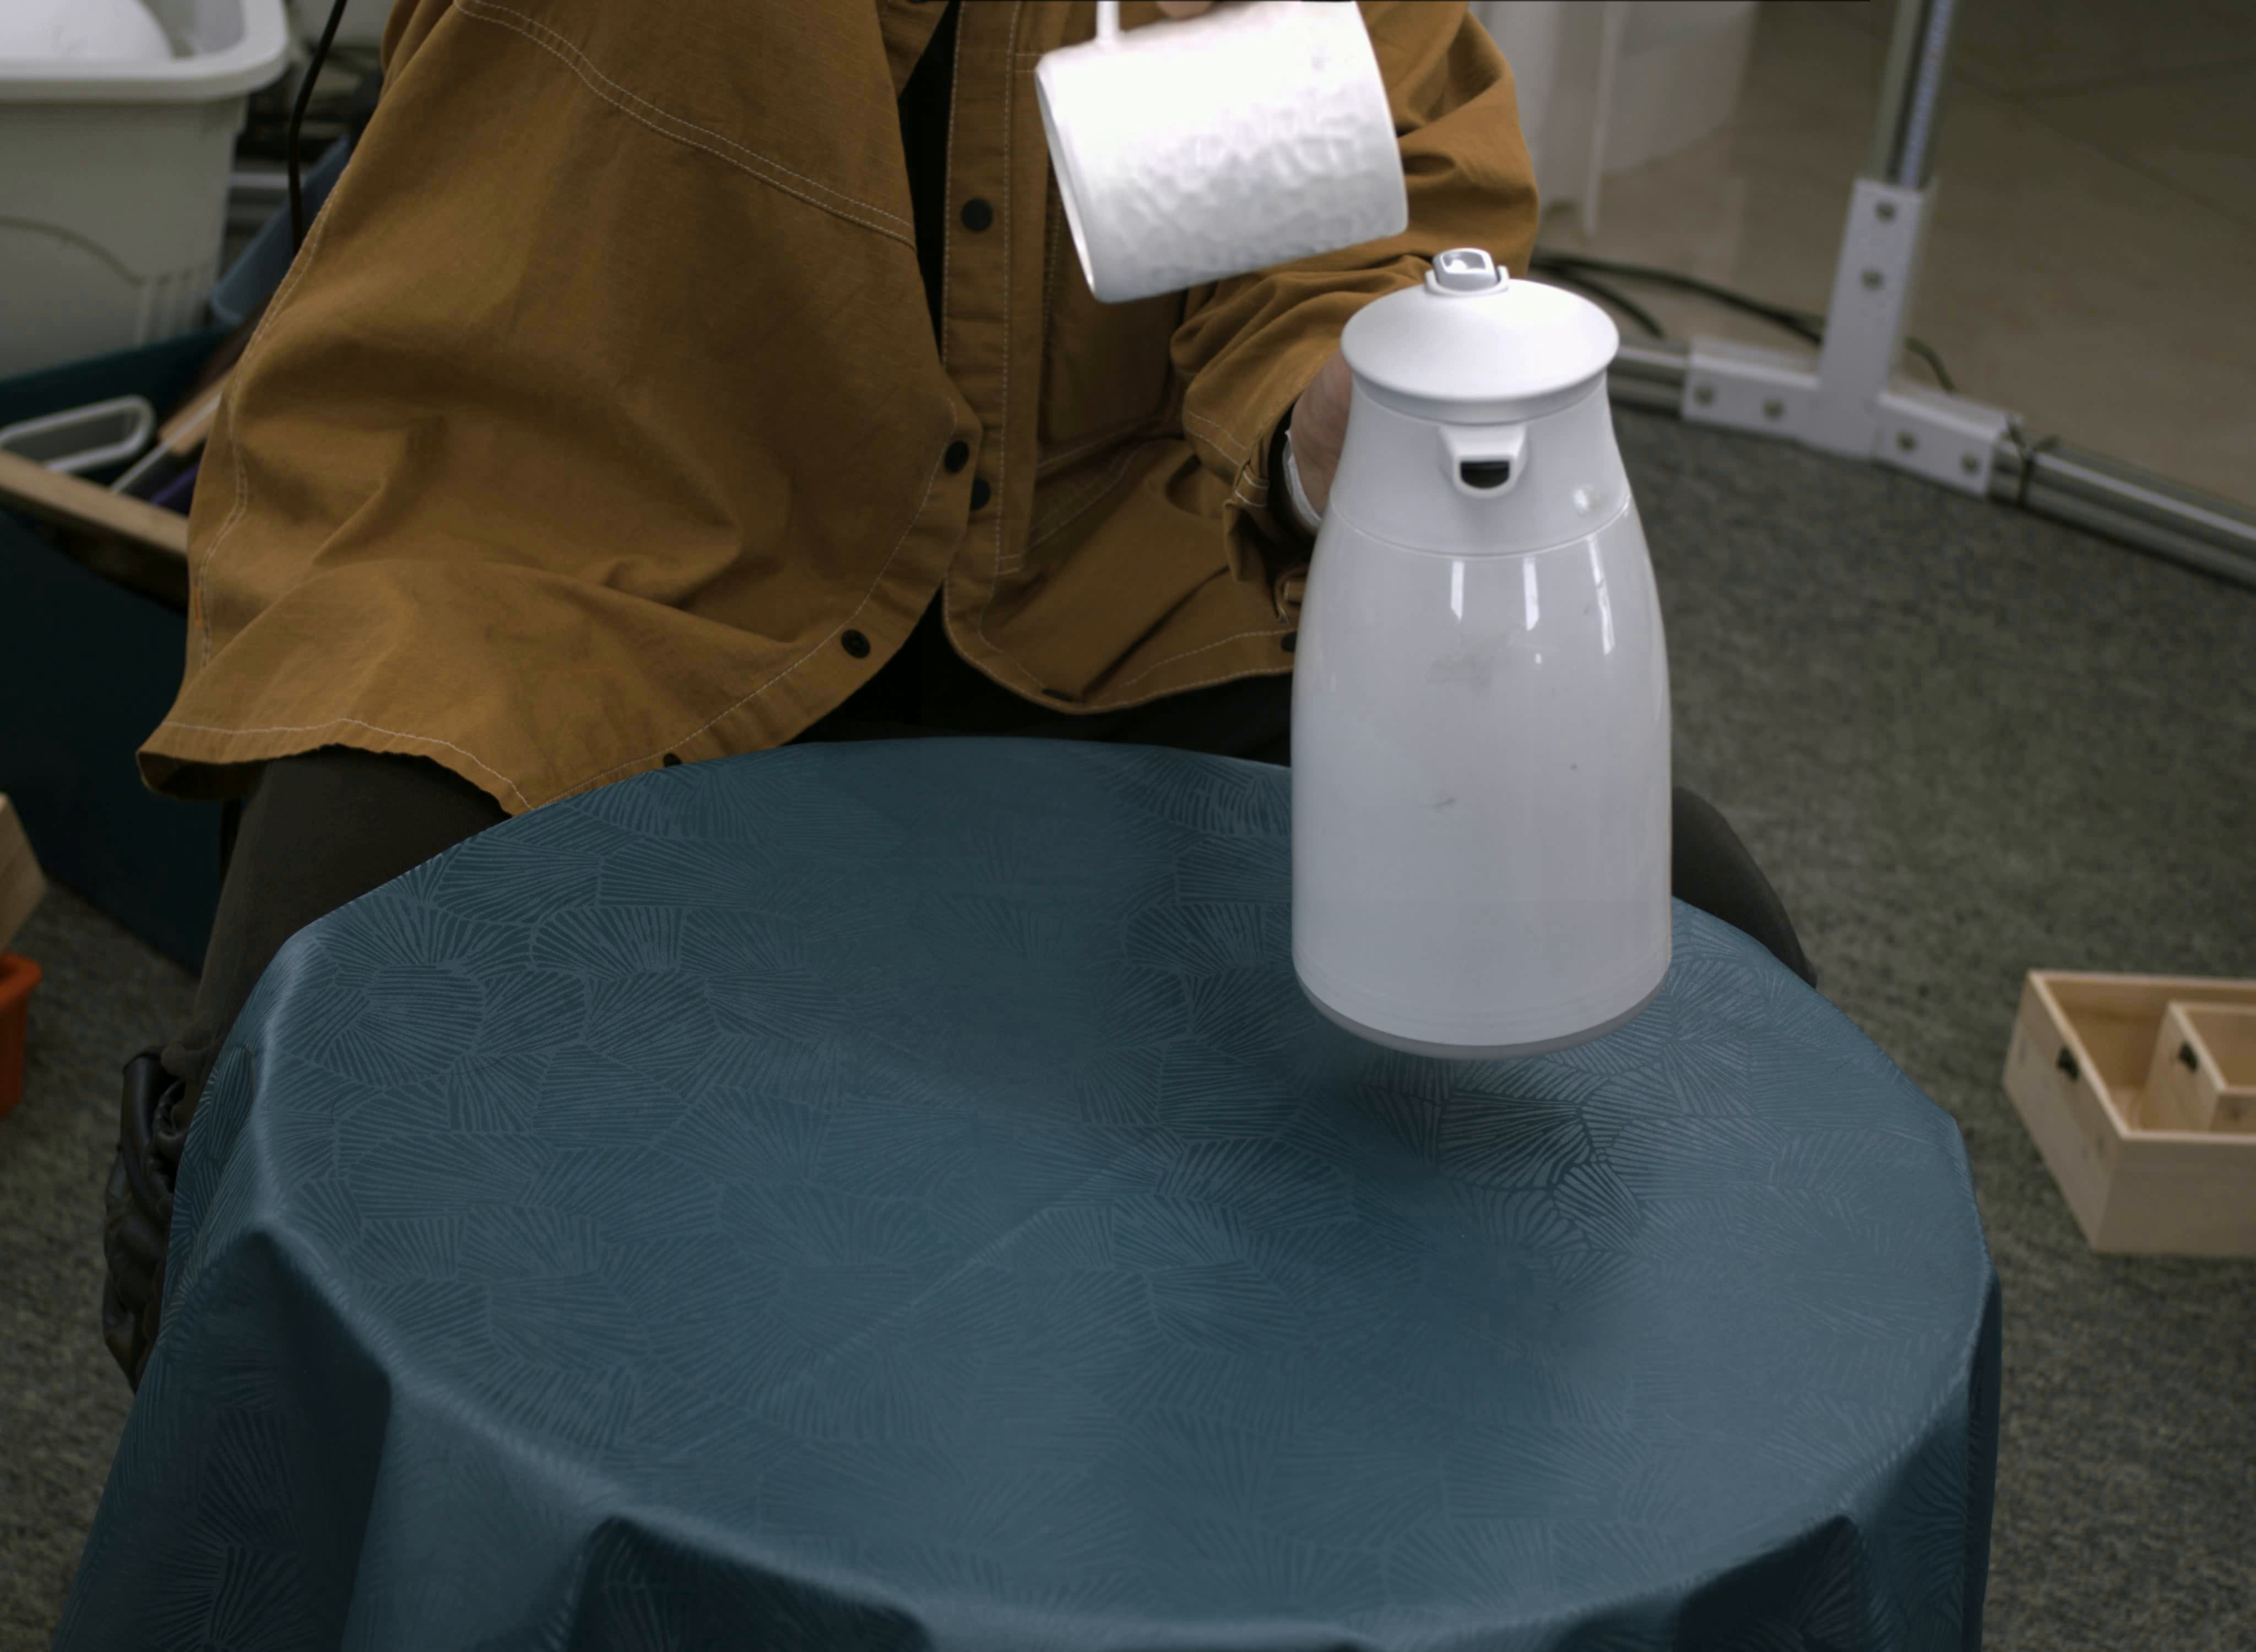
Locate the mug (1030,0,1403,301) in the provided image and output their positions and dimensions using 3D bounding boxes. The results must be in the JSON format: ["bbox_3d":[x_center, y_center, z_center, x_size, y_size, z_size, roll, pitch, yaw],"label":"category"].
[{"bbox_3d":[0.023,-0.234,1.694,0.101,0.118,0.085,-16,16,-2],"label":"mug"}]

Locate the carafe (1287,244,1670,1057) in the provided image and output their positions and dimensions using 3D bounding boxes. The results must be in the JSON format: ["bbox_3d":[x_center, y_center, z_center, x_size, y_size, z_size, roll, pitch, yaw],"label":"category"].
[{"bbox_3d":[0.116,-0.070,1.815,0.132,0.247,0.169,-3,29,2],"label":"carafe"}]
